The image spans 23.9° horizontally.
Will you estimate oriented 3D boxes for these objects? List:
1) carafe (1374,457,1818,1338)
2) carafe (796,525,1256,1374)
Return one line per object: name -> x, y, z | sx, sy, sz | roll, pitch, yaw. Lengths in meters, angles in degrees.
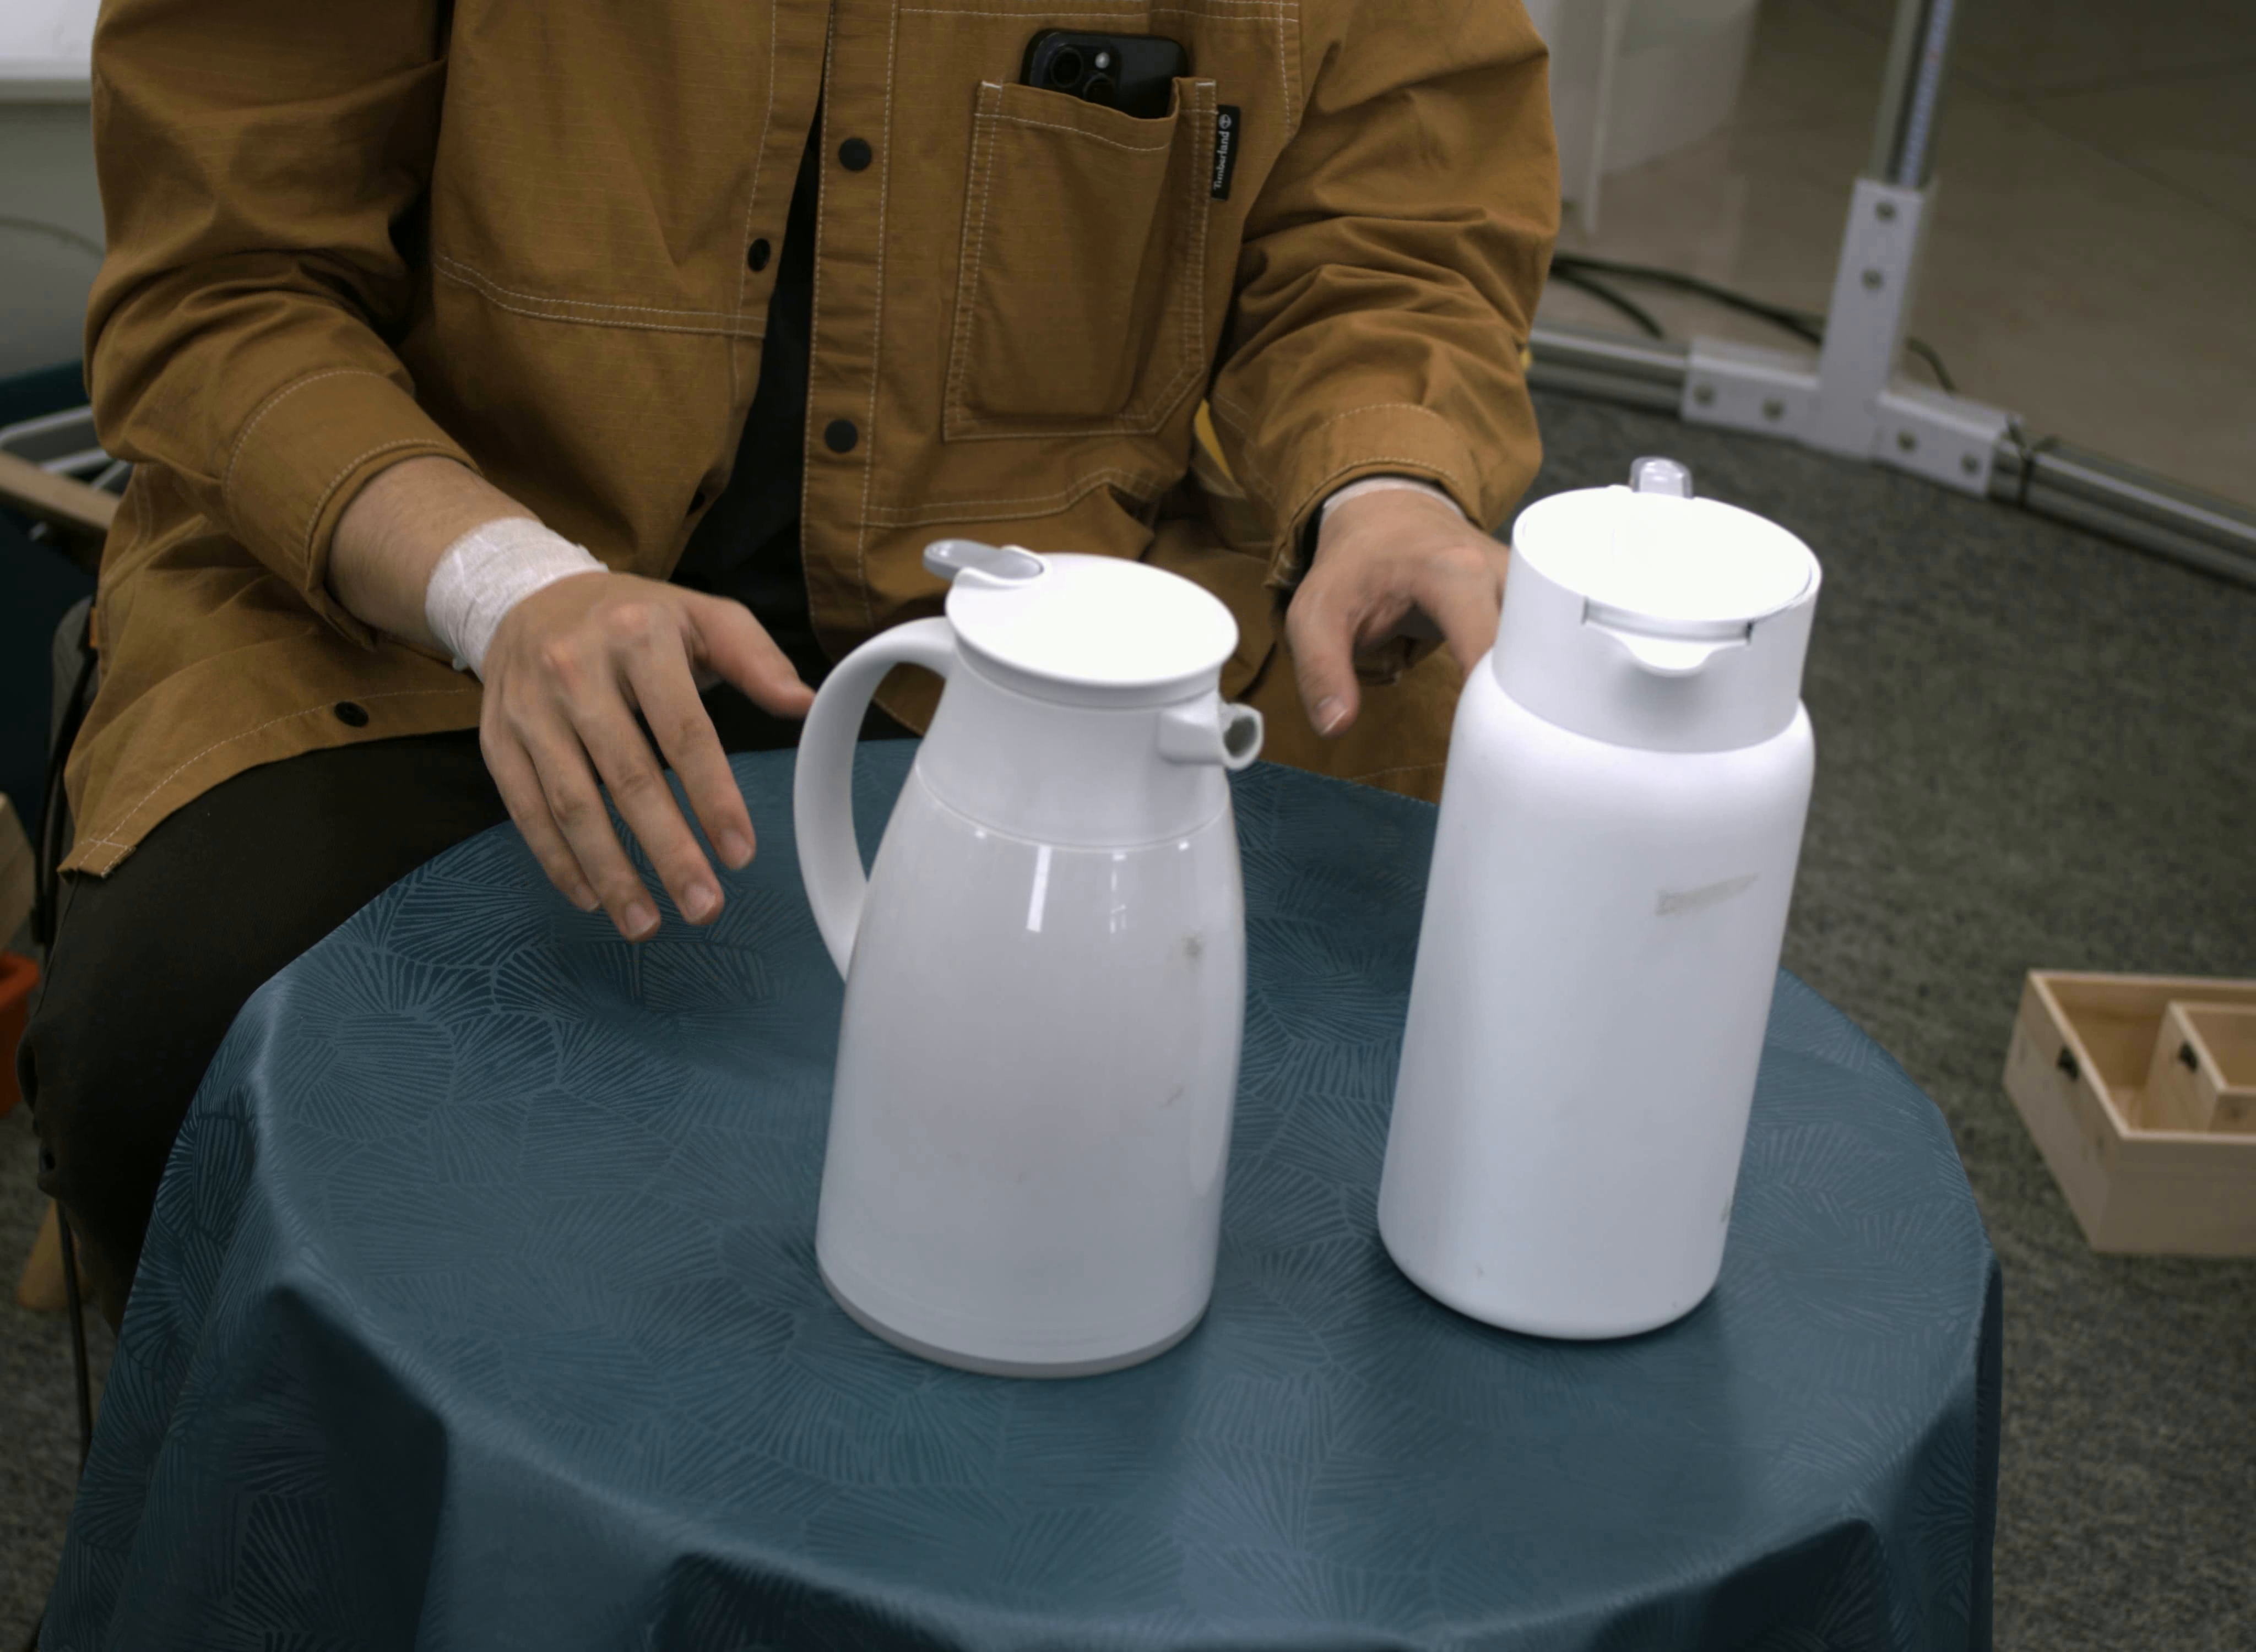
carafe -> 0.154, 0.020, 1.750 | 0.123, 0.268, 0.174 | 5, 26, 0
carafe -> -0.040, 0.029, 1.706 | 0.169, 0.248, 0.132 | 23, 30, 32
